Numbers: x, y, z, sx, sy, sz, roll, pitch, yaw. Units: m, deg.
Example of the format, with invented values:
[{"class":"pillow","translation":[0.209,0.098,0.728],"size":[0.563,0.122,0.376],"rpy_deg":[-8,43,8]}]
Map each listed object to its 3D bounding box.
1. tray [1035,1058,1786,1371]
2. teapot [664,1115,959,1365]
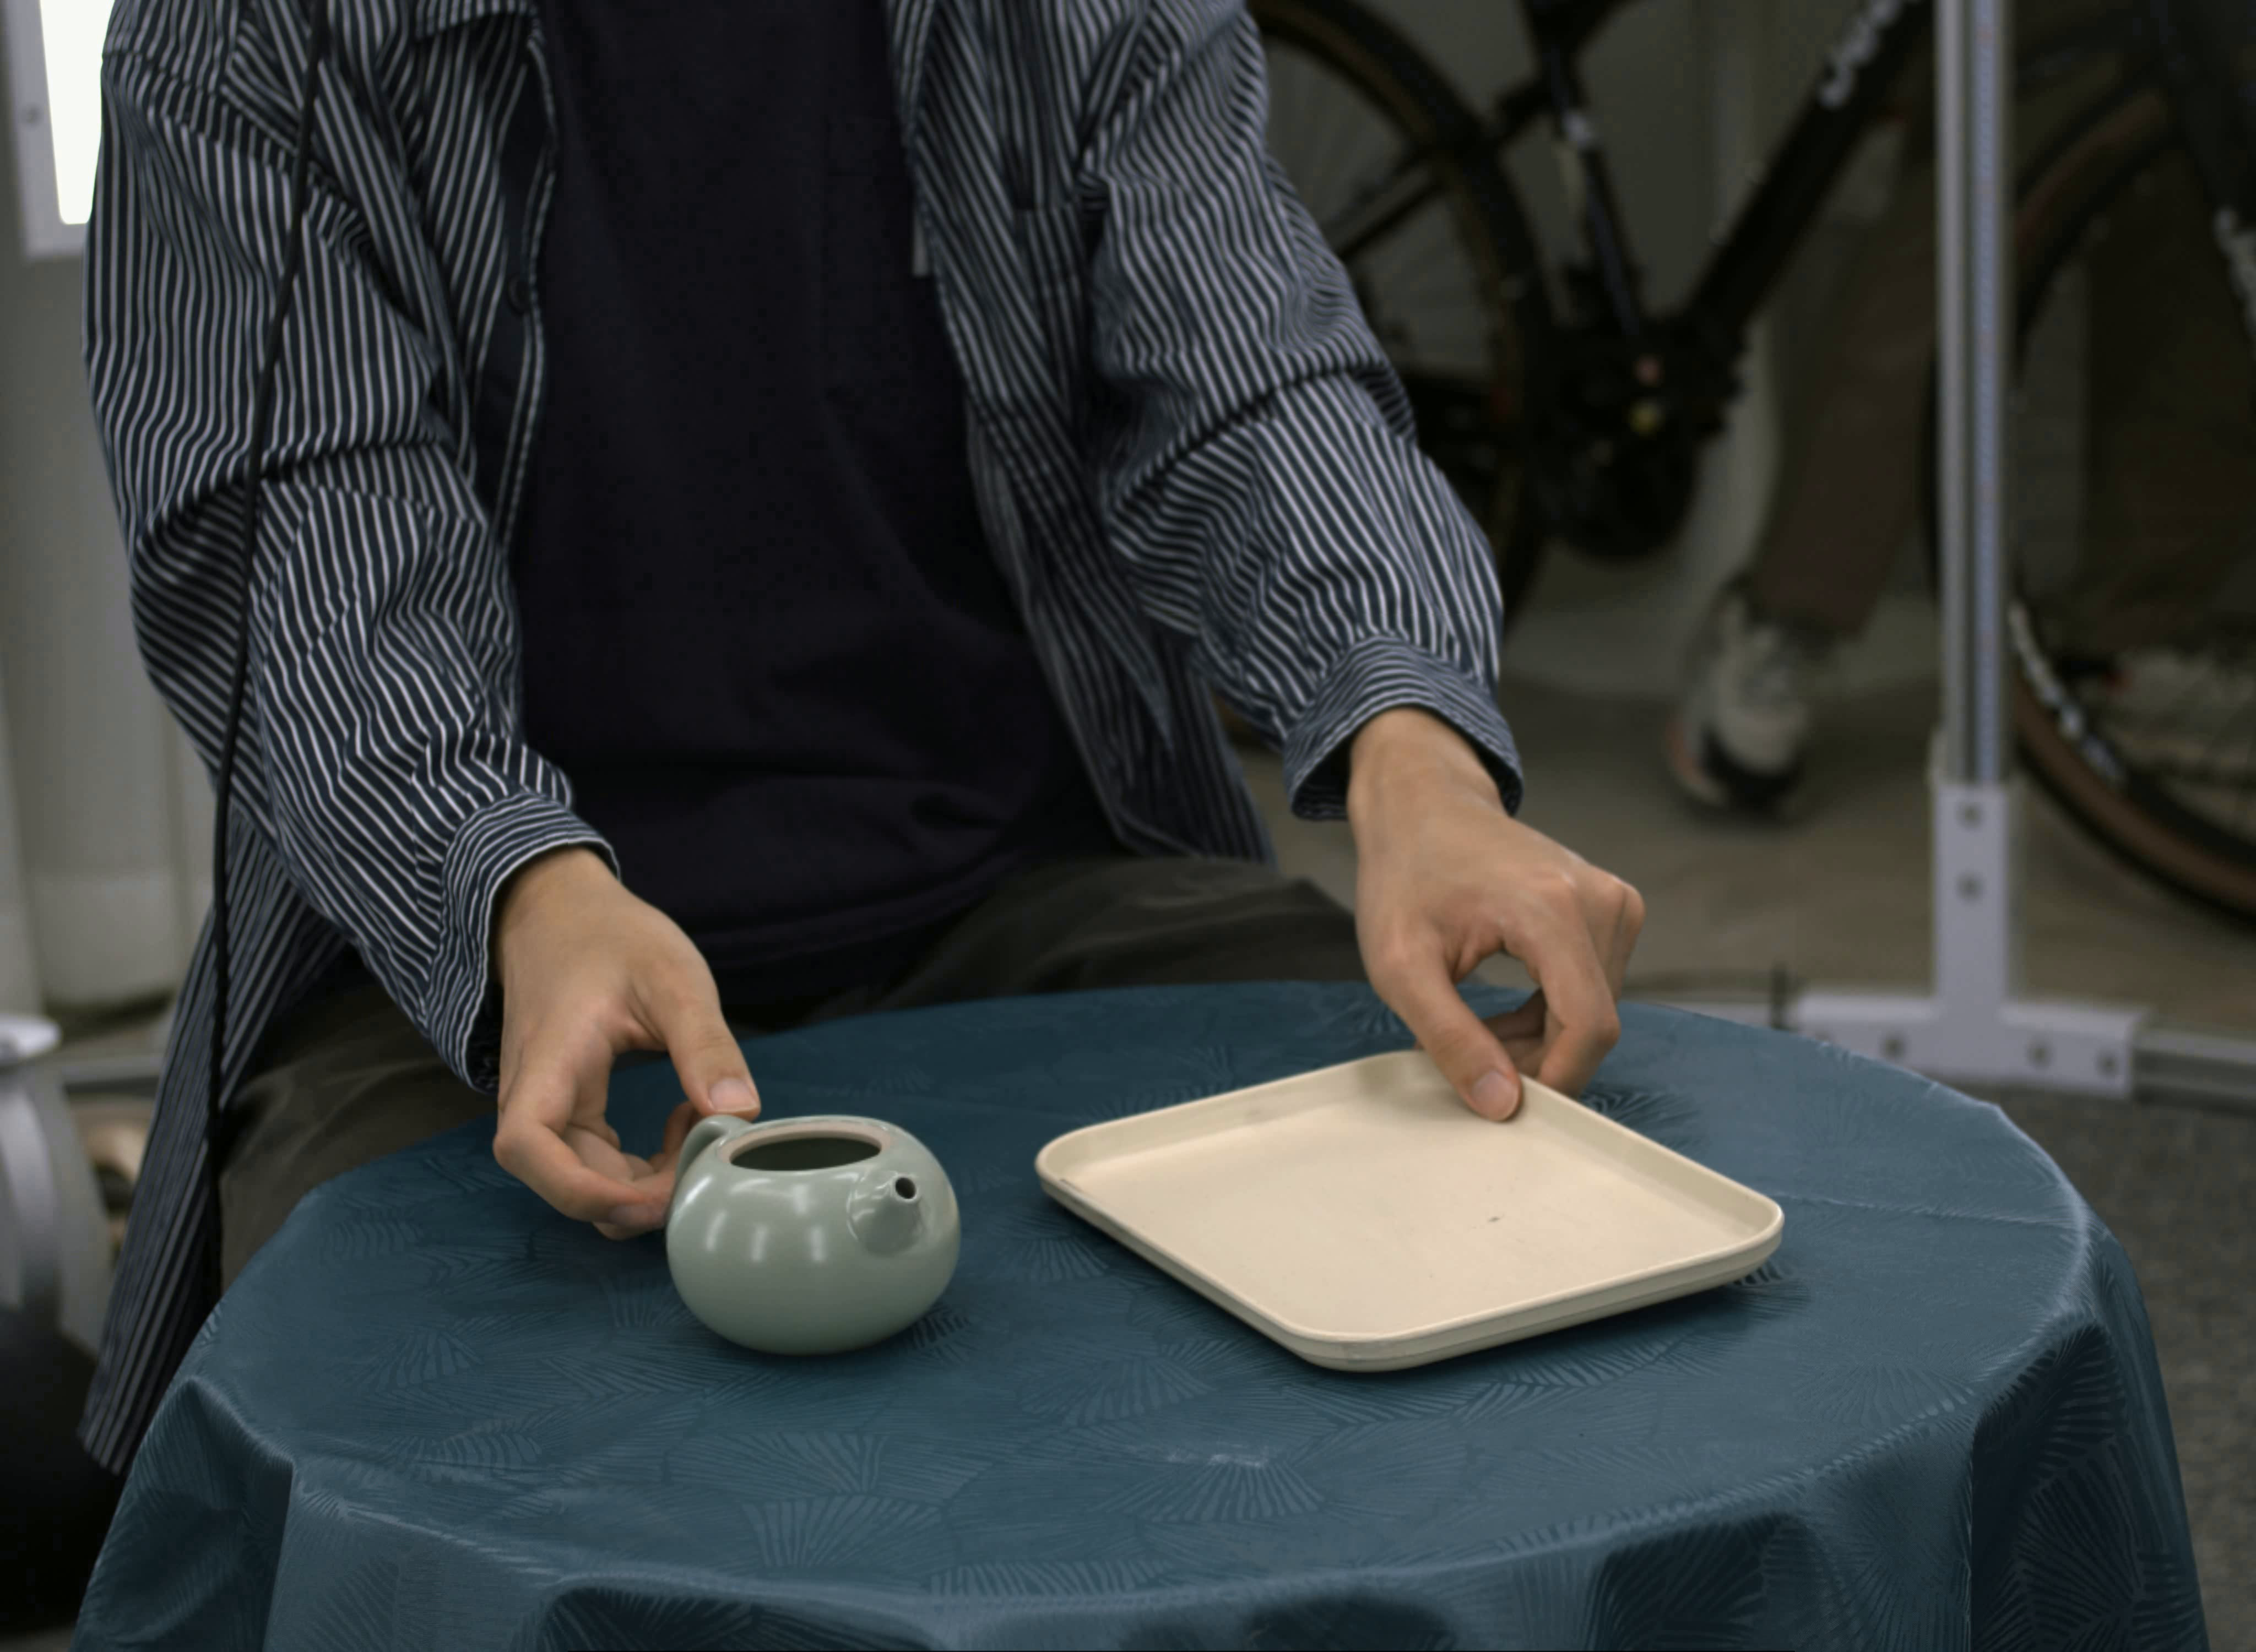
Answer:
[{"class":"tray","translation":[0.086,0.121,1.696],"size":[0.168,0.017,0.242],"rpy_deg":[-12,16,-22]},{"class":"teapot","translation":[-0.102,0.125,1.659],"size":[0.089,0.061,0.130],"rpy_deg":[-14,16,-31]}]
